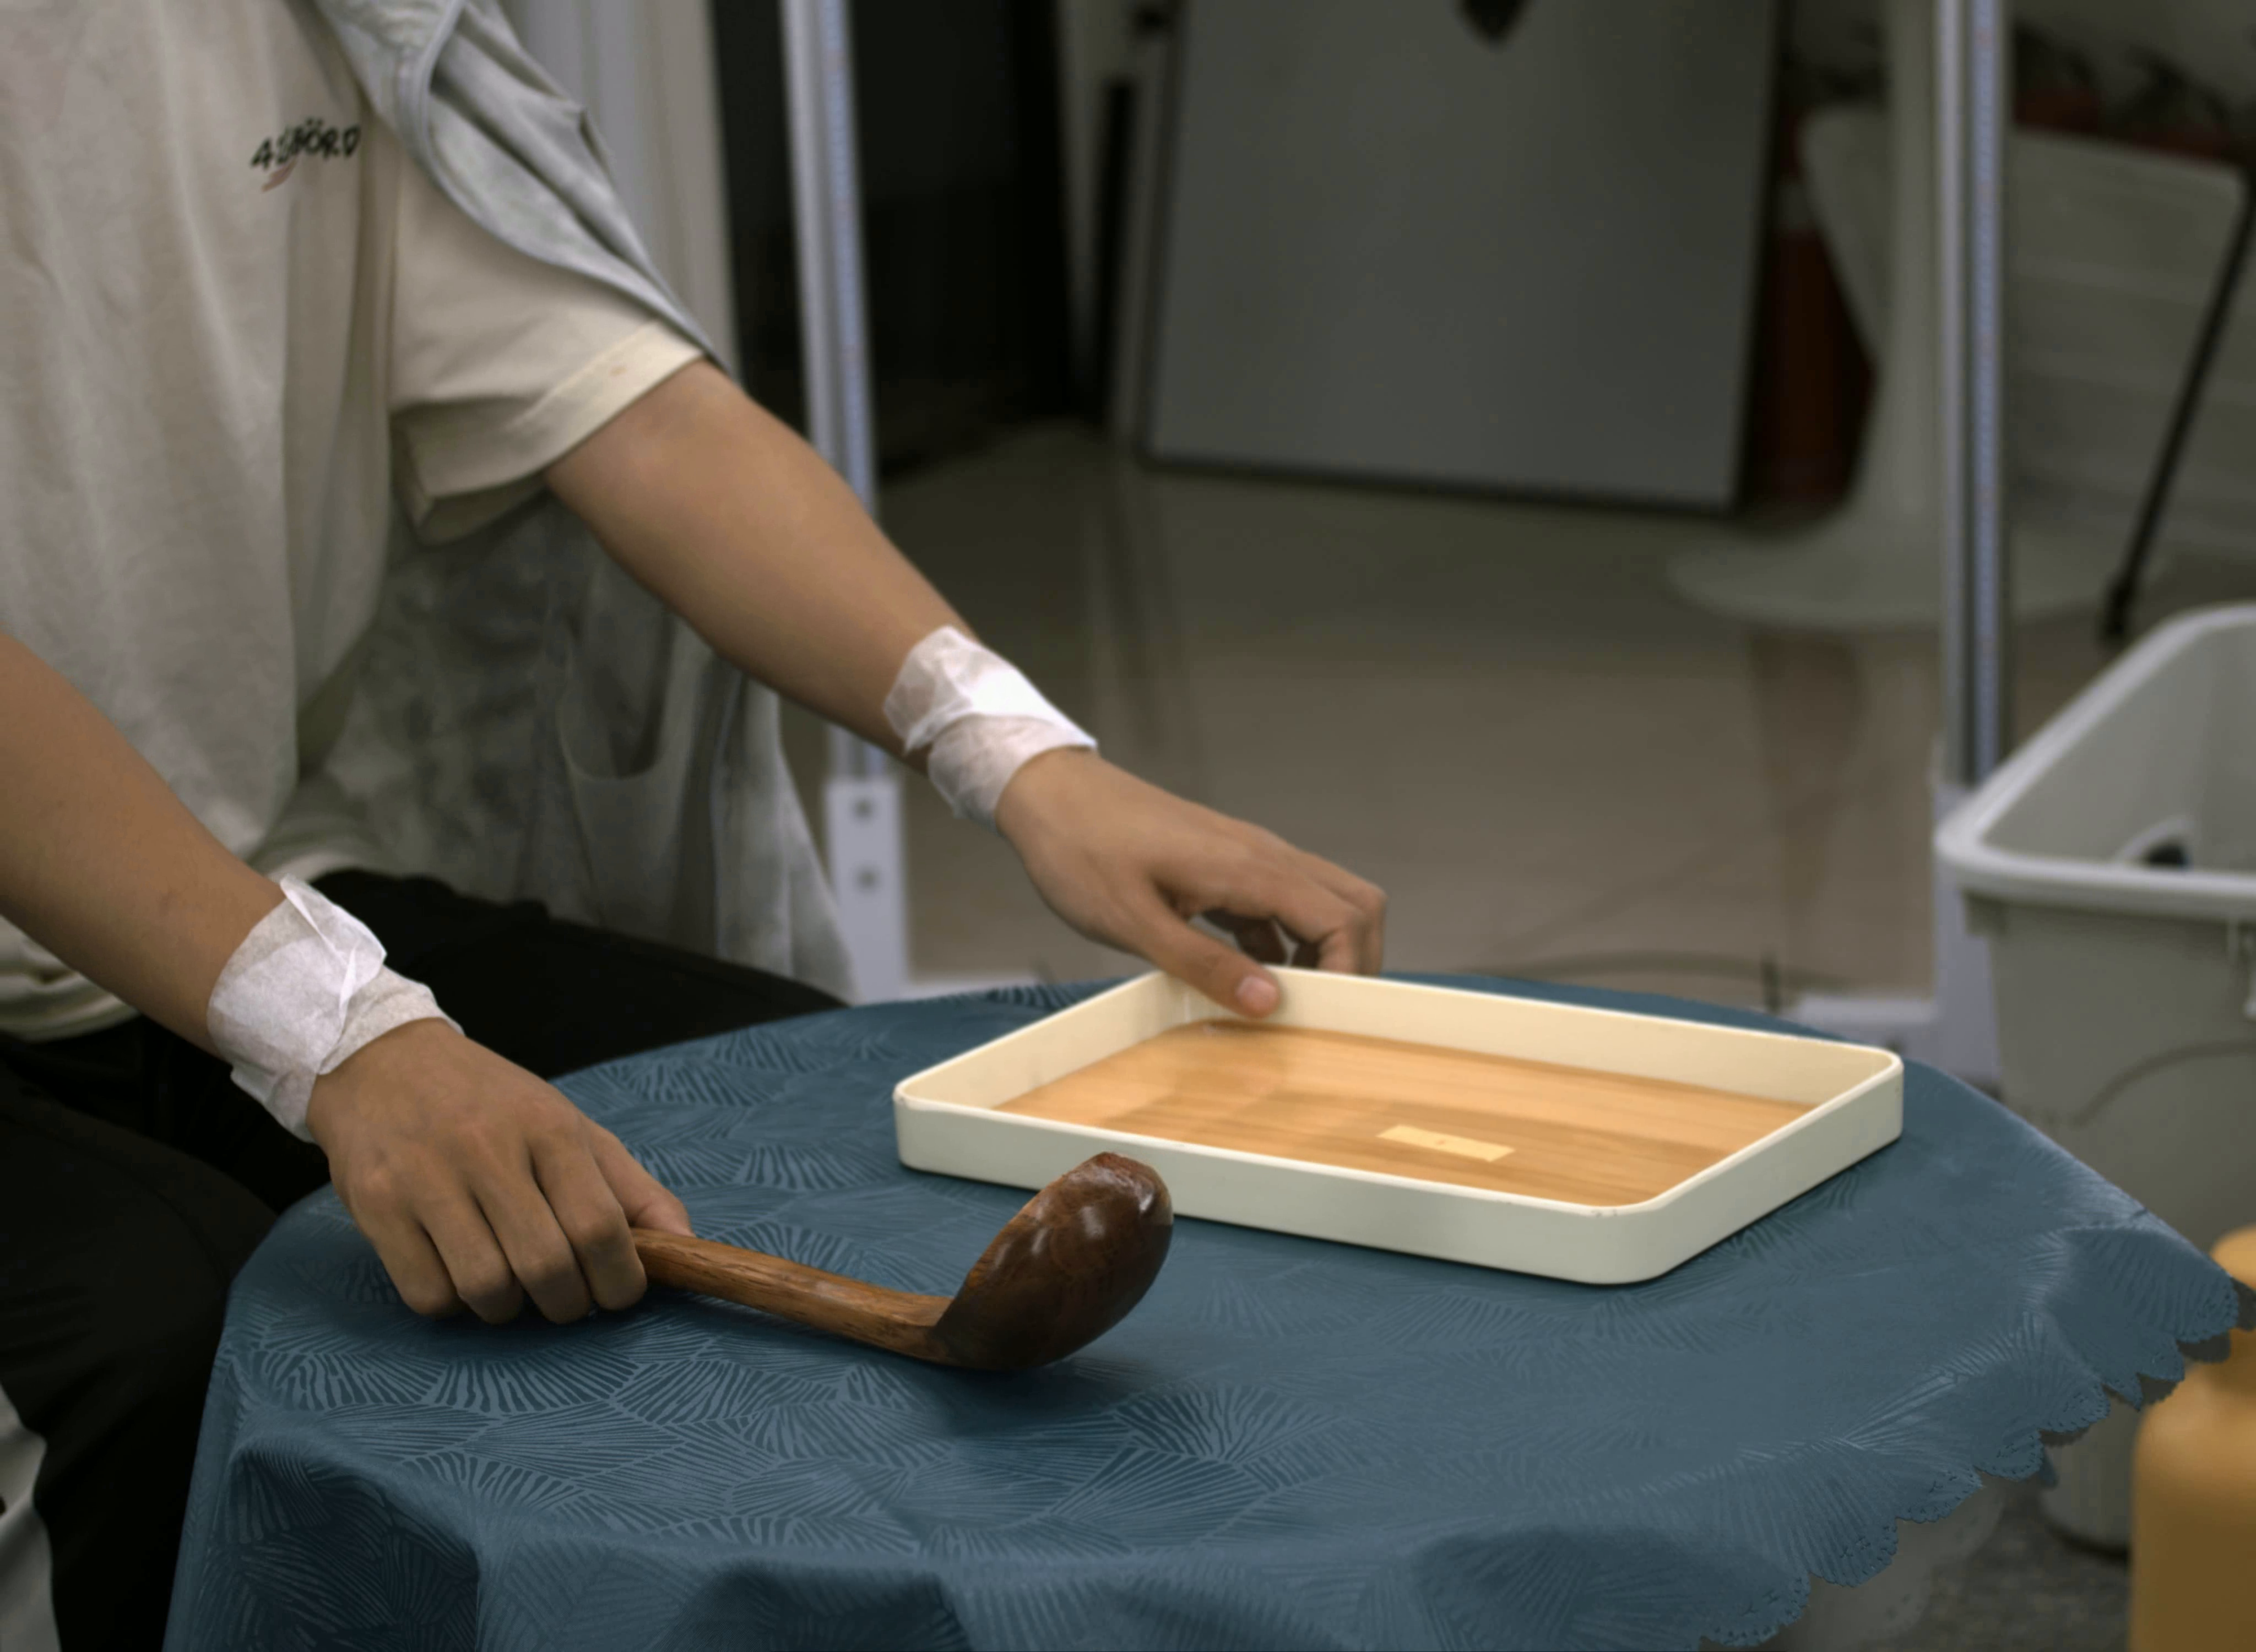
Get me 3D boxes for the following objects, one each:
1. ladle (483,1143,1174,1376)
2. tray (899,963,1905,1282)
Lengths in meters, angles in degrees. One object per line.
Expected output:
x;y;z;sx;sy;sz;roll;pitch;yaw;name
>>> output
-0.101;0.118;1.654;0.276;0.077;0.080;8;11;40;ladle
0.090;0.096;1.796;0.302;0.028;0.188;6;17;37;tray
